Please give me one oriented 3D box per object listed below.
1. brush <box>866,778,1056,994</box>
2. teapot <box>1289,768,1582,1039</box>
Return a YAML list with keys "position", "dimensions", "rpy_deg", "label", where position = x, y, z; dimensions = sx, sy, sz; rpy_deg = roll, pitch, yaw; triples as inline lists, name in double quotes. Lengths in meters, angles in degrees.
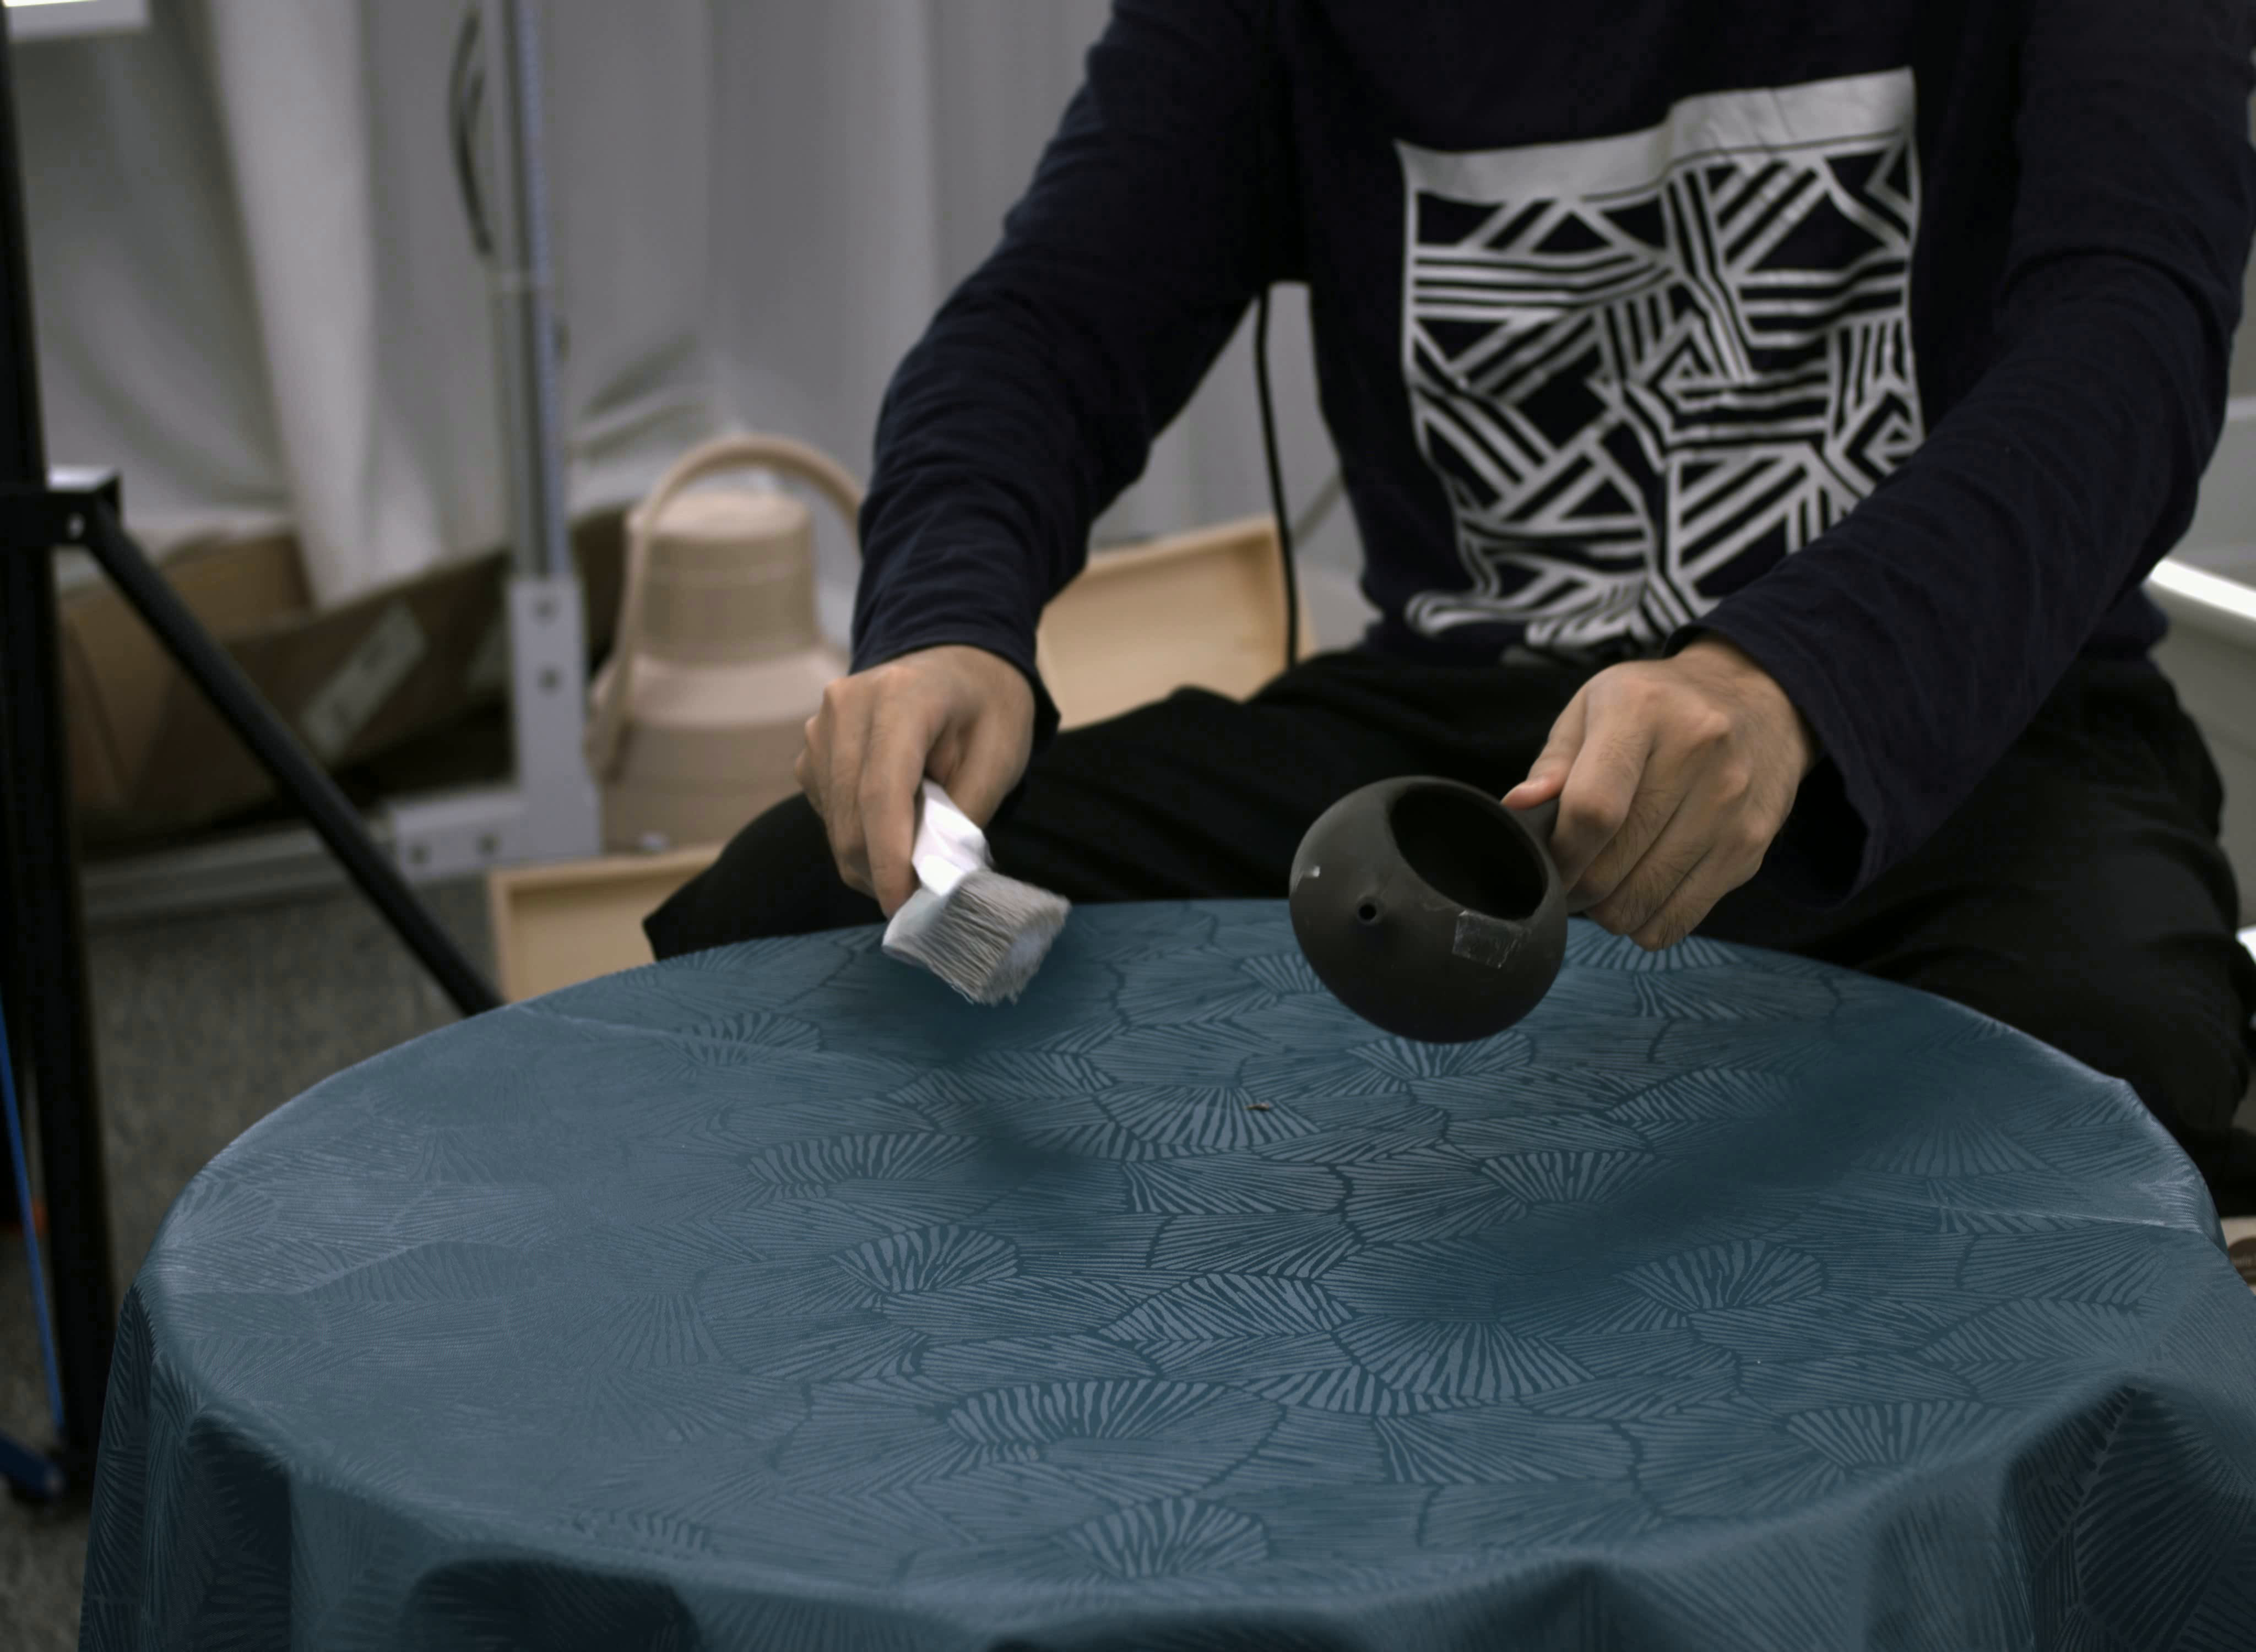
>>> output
- position: [-0.054, 0.017, 1.689]
  dimensions: [0.050, 0.034, 0.245]
  rpy_deg: [28, 4, -8]
  label: "brush"
- position: [0.095, 0.018, 1.527]
  dimensions: [0.112, 0.053, 0.084]
  rpy_deg: [-24, 63, -44]
  label: "teapot"
